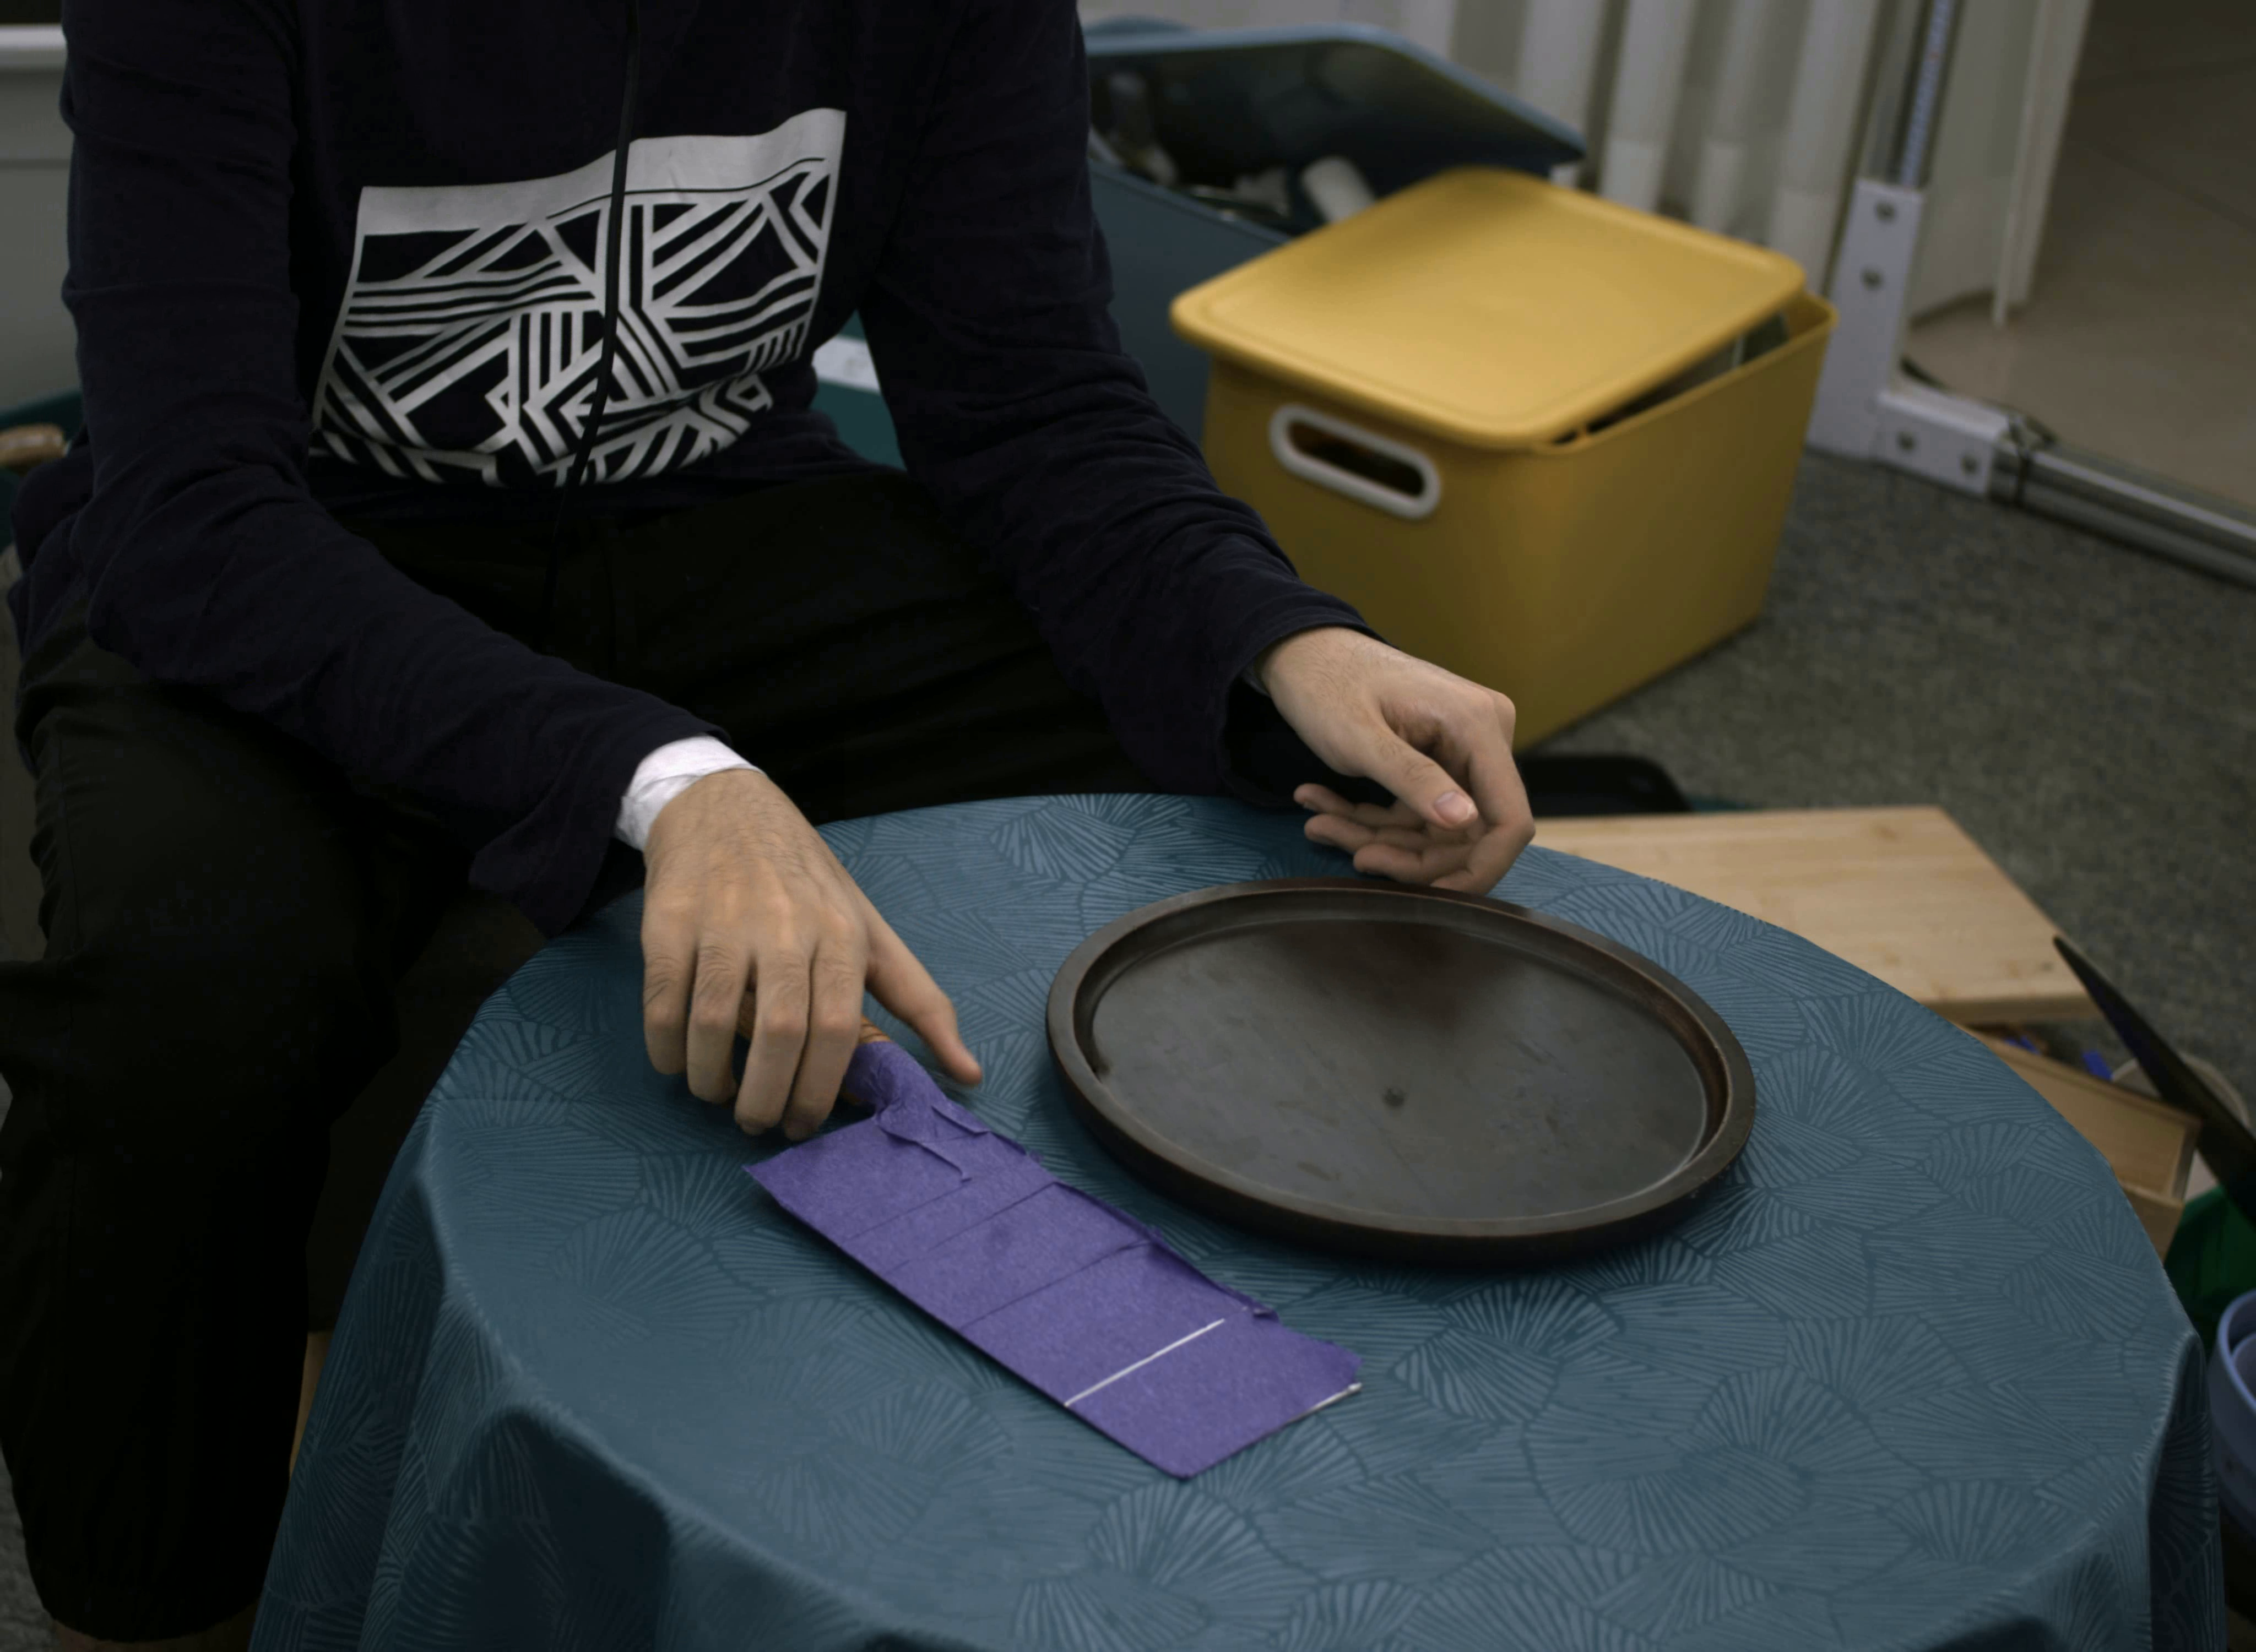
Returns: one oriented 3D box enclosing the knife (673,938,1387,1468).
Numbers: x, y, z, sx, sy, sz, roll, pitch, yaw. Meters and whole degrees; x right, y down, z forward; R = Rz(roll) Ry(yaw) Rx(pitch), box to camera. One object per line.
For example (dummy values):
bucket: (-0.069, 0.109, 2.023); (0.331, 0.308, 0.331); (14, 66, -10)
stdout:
knife: (-0.060, 0.121, 1.767); (0.317, 0.032, 0.103); (29, 34, 36)

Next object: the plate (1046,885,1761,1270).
plate: (0.096, 0.086, 1.875); (0.254, 0.029, 0.256); (6, 27, -3)
